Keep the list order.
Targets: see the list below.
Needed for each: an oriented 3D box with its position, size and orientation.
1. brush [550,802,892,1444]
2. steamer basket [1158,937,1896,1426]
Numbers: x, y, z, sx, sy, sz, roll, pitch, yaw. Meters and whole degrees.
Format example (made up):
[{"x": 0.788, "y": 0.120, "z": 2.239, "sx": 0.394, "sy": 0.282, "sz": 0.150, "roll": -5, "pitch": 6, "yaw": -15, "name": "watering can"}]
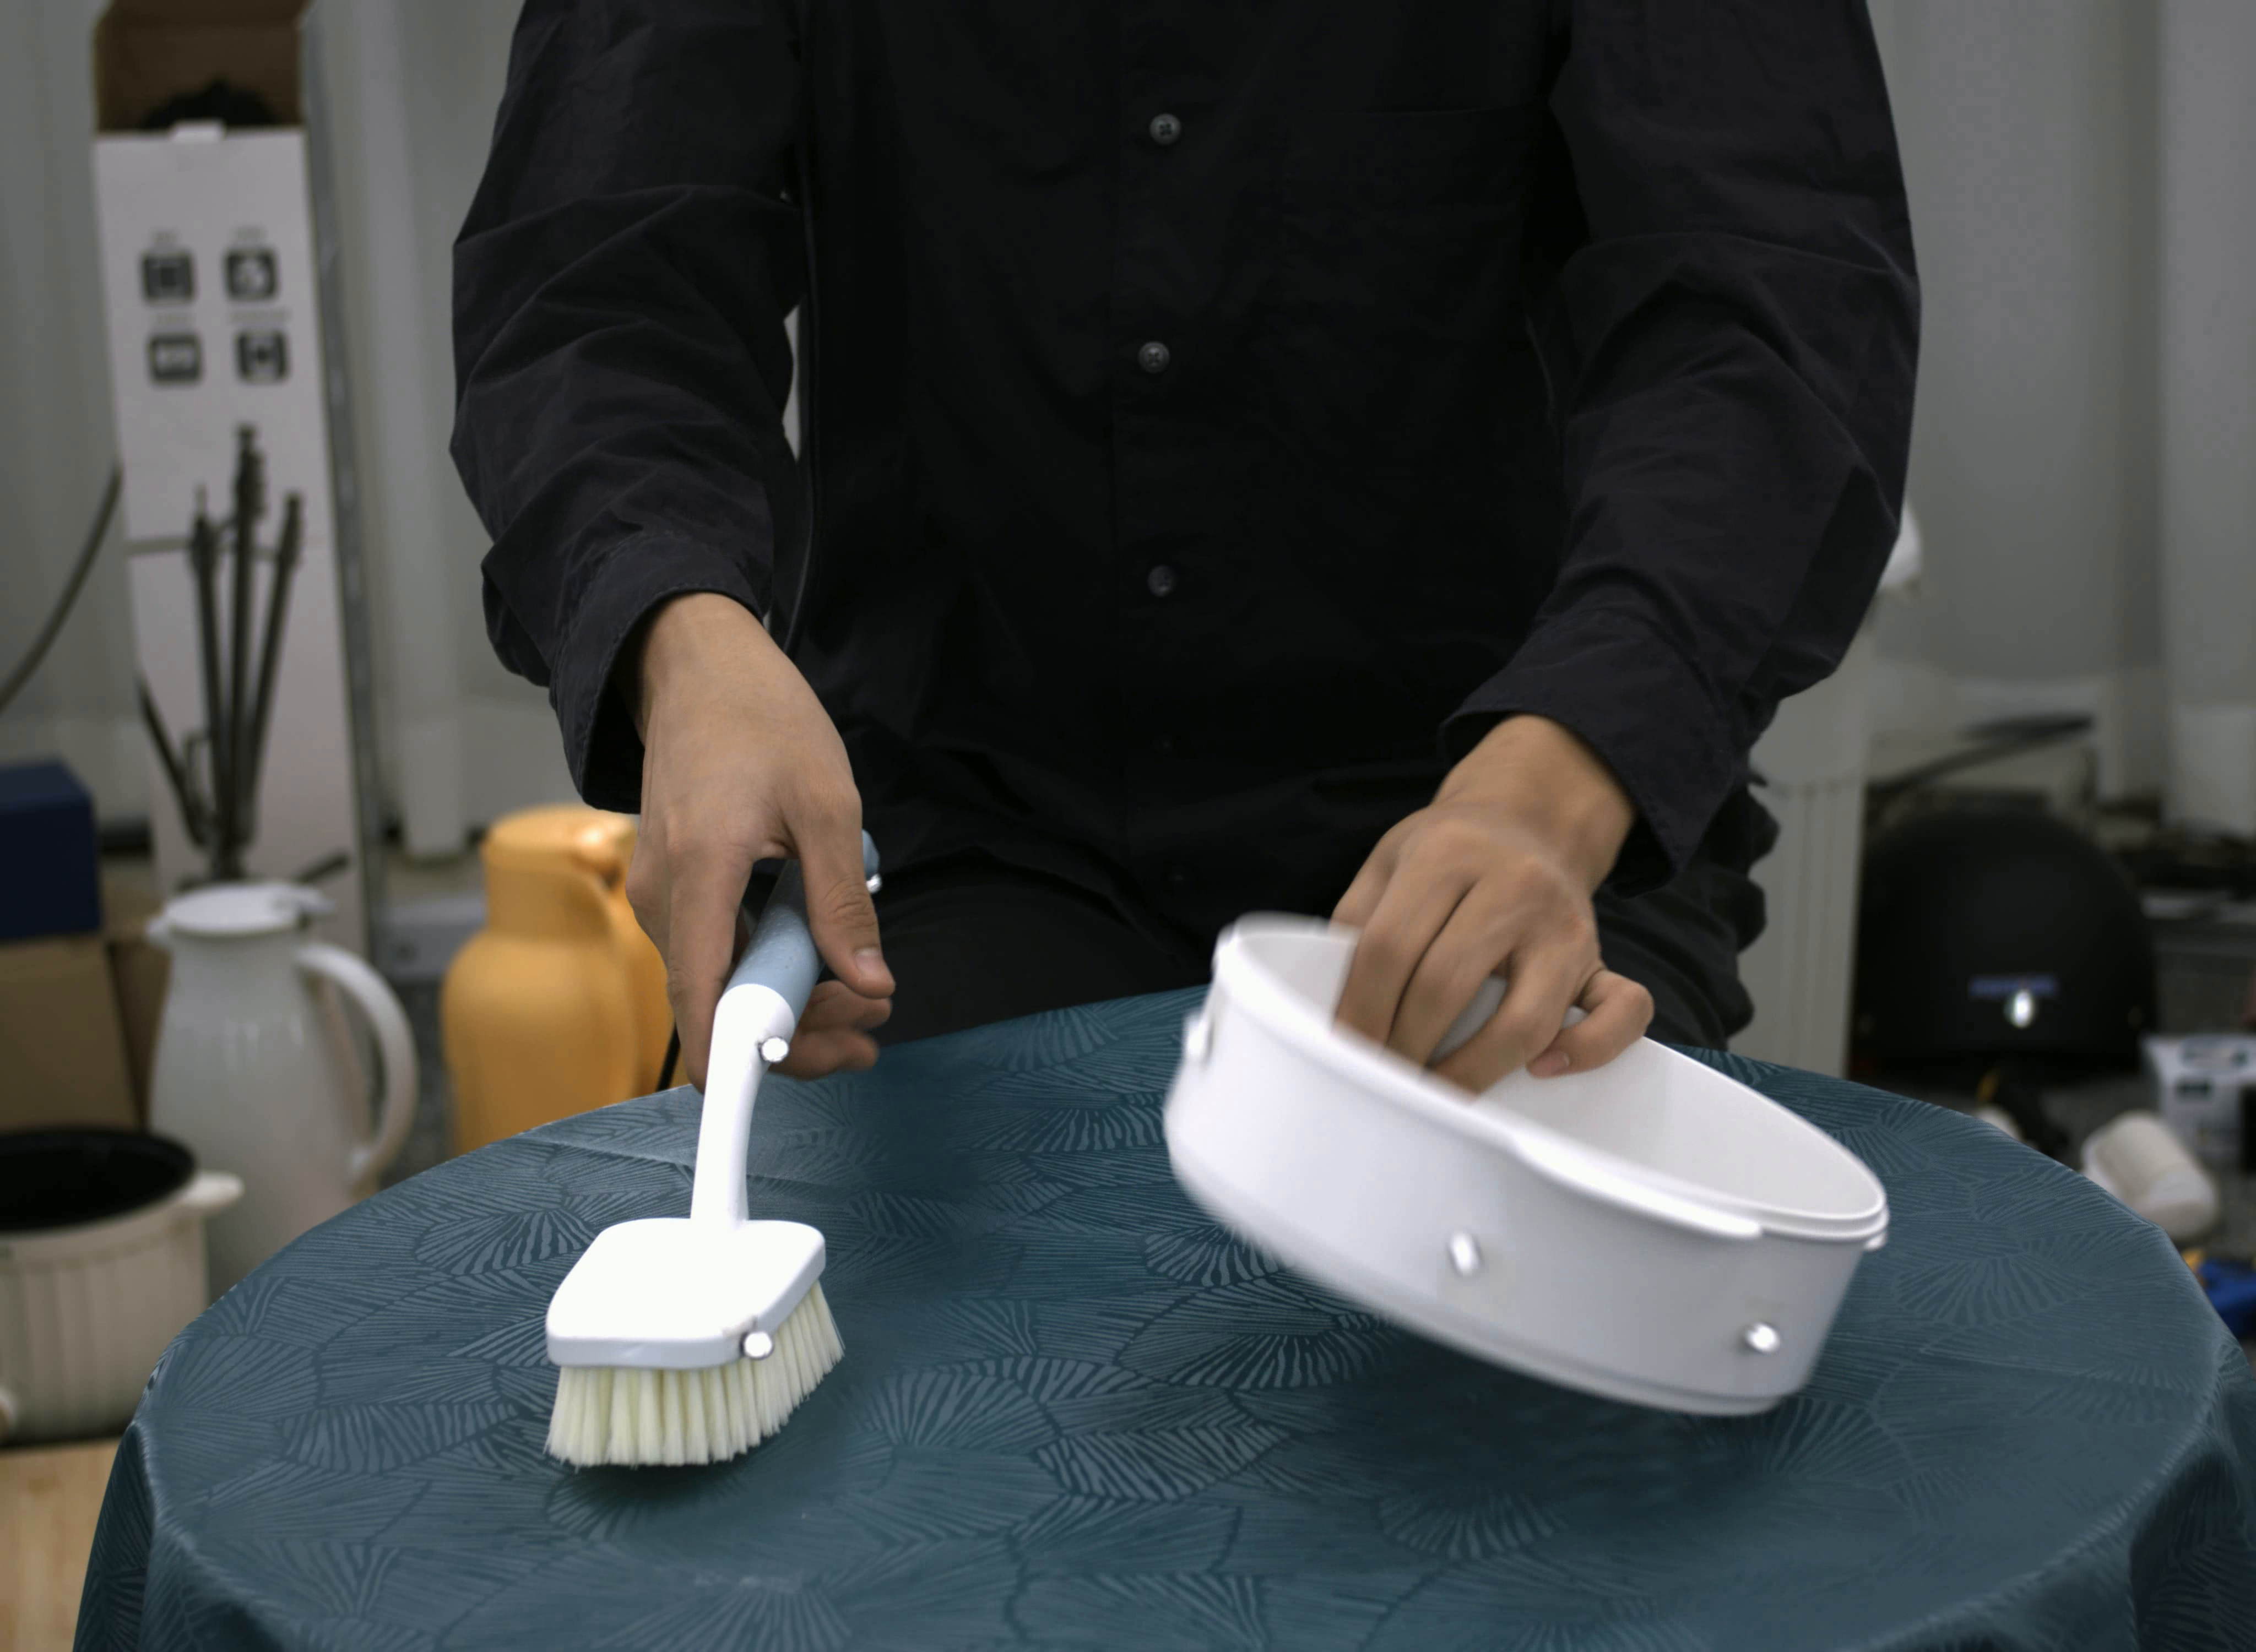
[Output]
[{"x": -0.106, "y": 0.101, "z": 1.633, "sx": 0.083, "sy": 0.084, "sz": 0.328, "roll": 33, "pitch": 27, "yaw": -6, "name": "brush"}, {"x": 0.108, "y": 0.100, "z": 1.517, "sx": 0.200, "sy": 0.069, "sz": 0.232, "roll": 18, "pitch": 10, "yaw": -14, "name": "steamer basket"}]
